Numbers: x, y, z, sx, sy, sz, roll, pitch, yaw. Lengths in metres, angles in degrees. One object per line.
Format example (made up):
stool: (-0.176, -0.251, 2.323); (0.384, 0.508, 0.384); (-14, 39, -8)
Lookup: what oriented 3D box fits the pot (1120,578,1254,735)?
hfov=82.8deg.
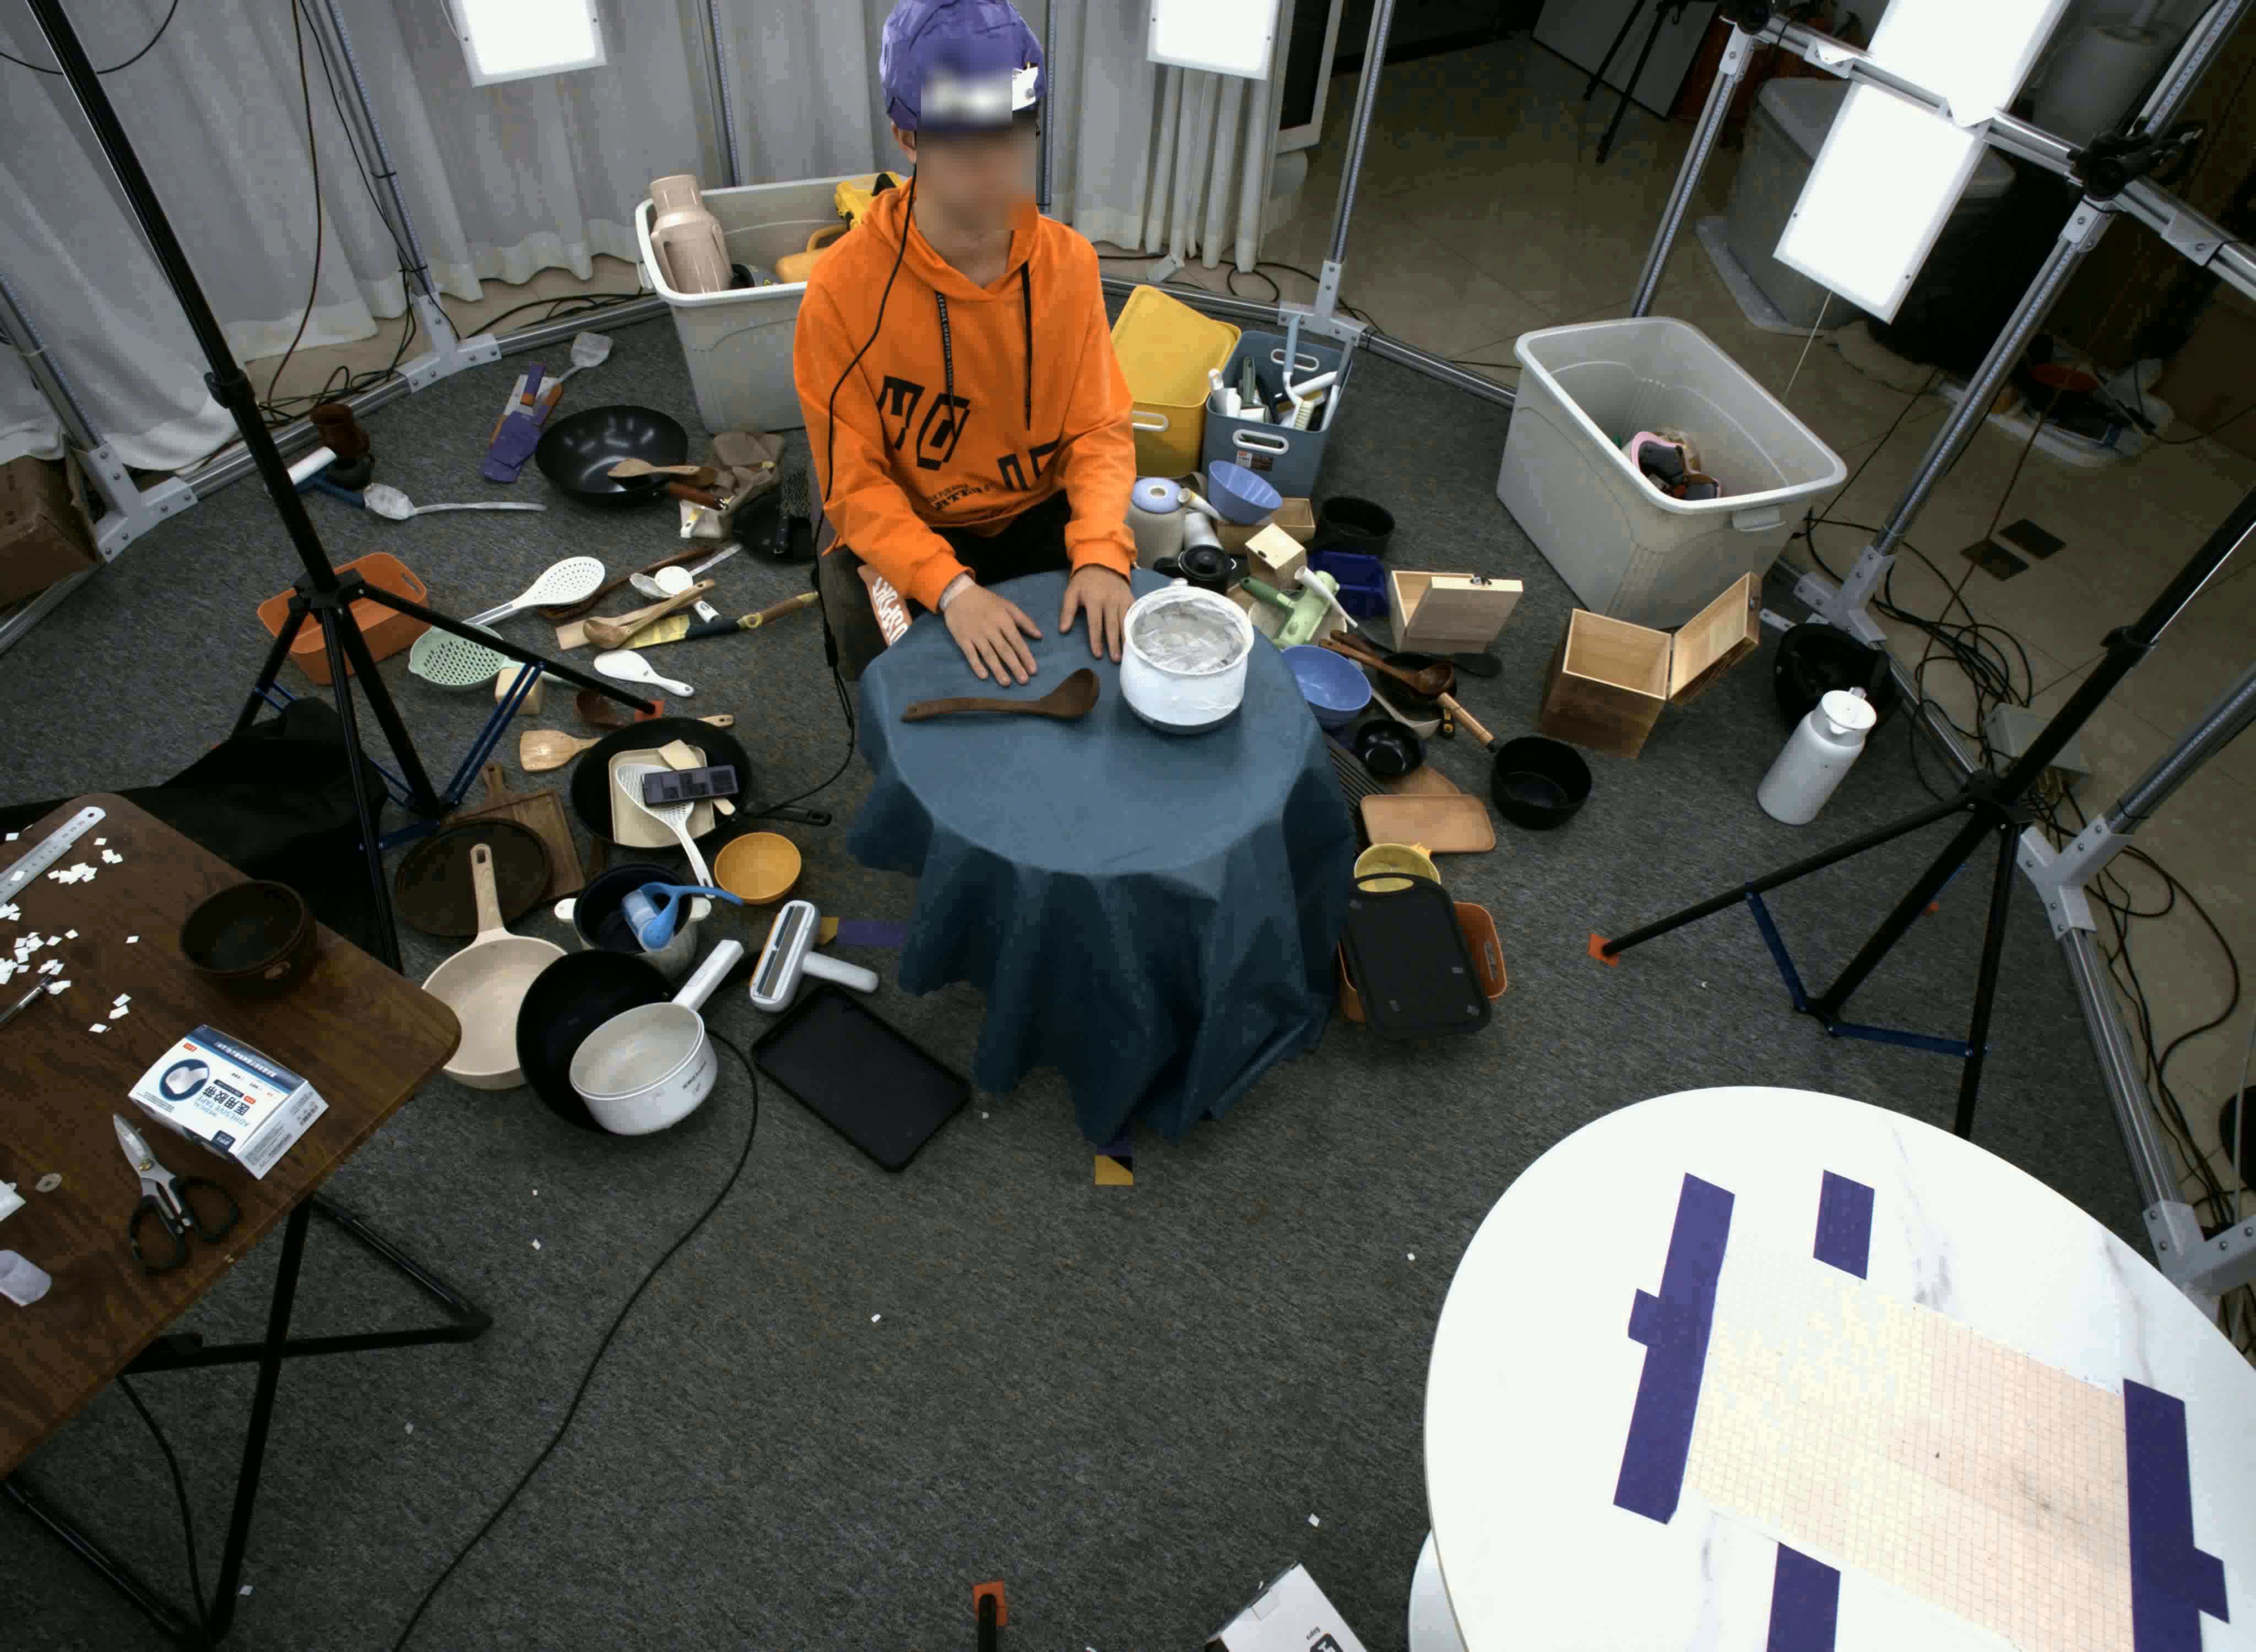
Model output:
pot: (0.075, -0.248, 1.800); (0.178, 0.133, 0.239); (-2, 50, -7)

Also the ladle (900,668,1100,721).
ladle: (-0.176, -0.179, 1.767); (0.274, 0.069, 0.078); (-2, 47, -7)
